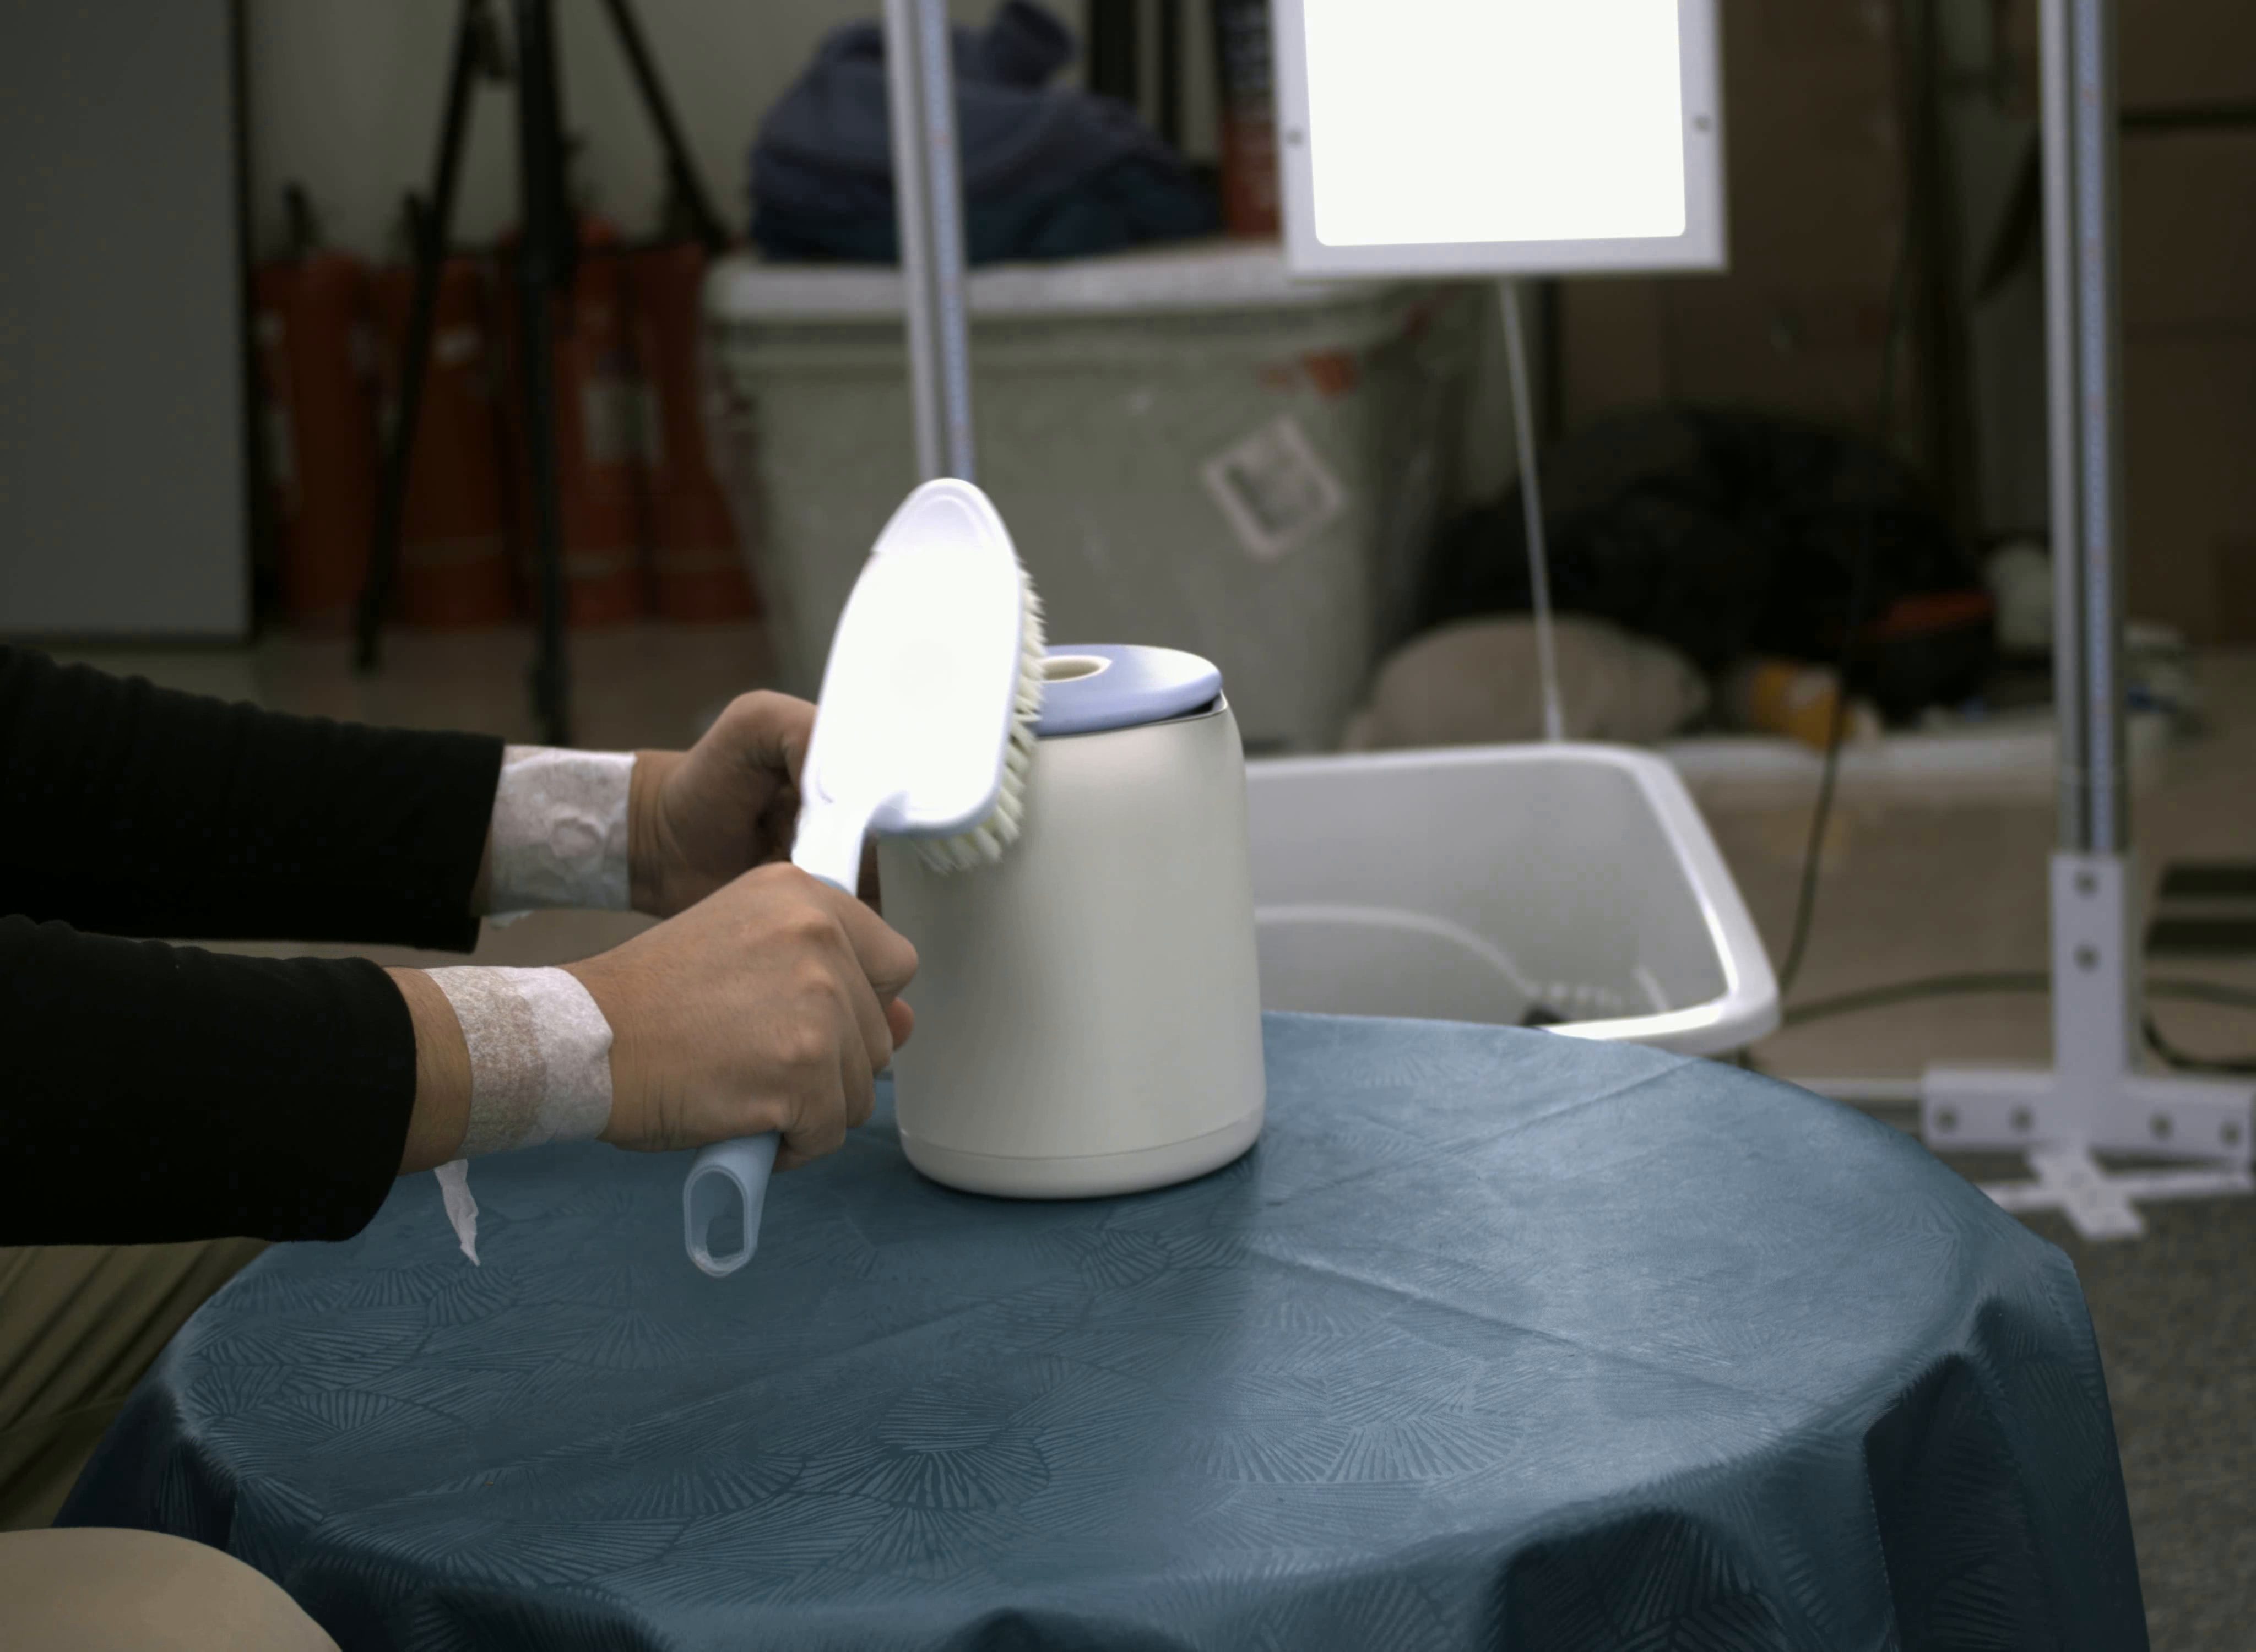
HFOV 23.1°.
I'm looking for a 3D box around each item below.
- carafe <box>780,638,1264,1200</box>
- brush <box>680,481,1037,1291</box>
[{"bbox_3d":[-0.042,0.030,1.942,0.195,0.183,0.129,3,15,33],"label":"carafe"},{"bbox_3d":[-0.090,0.030,1.792,0.083,0.323,0.085,31,-39,-22],"label":"brush"}]
